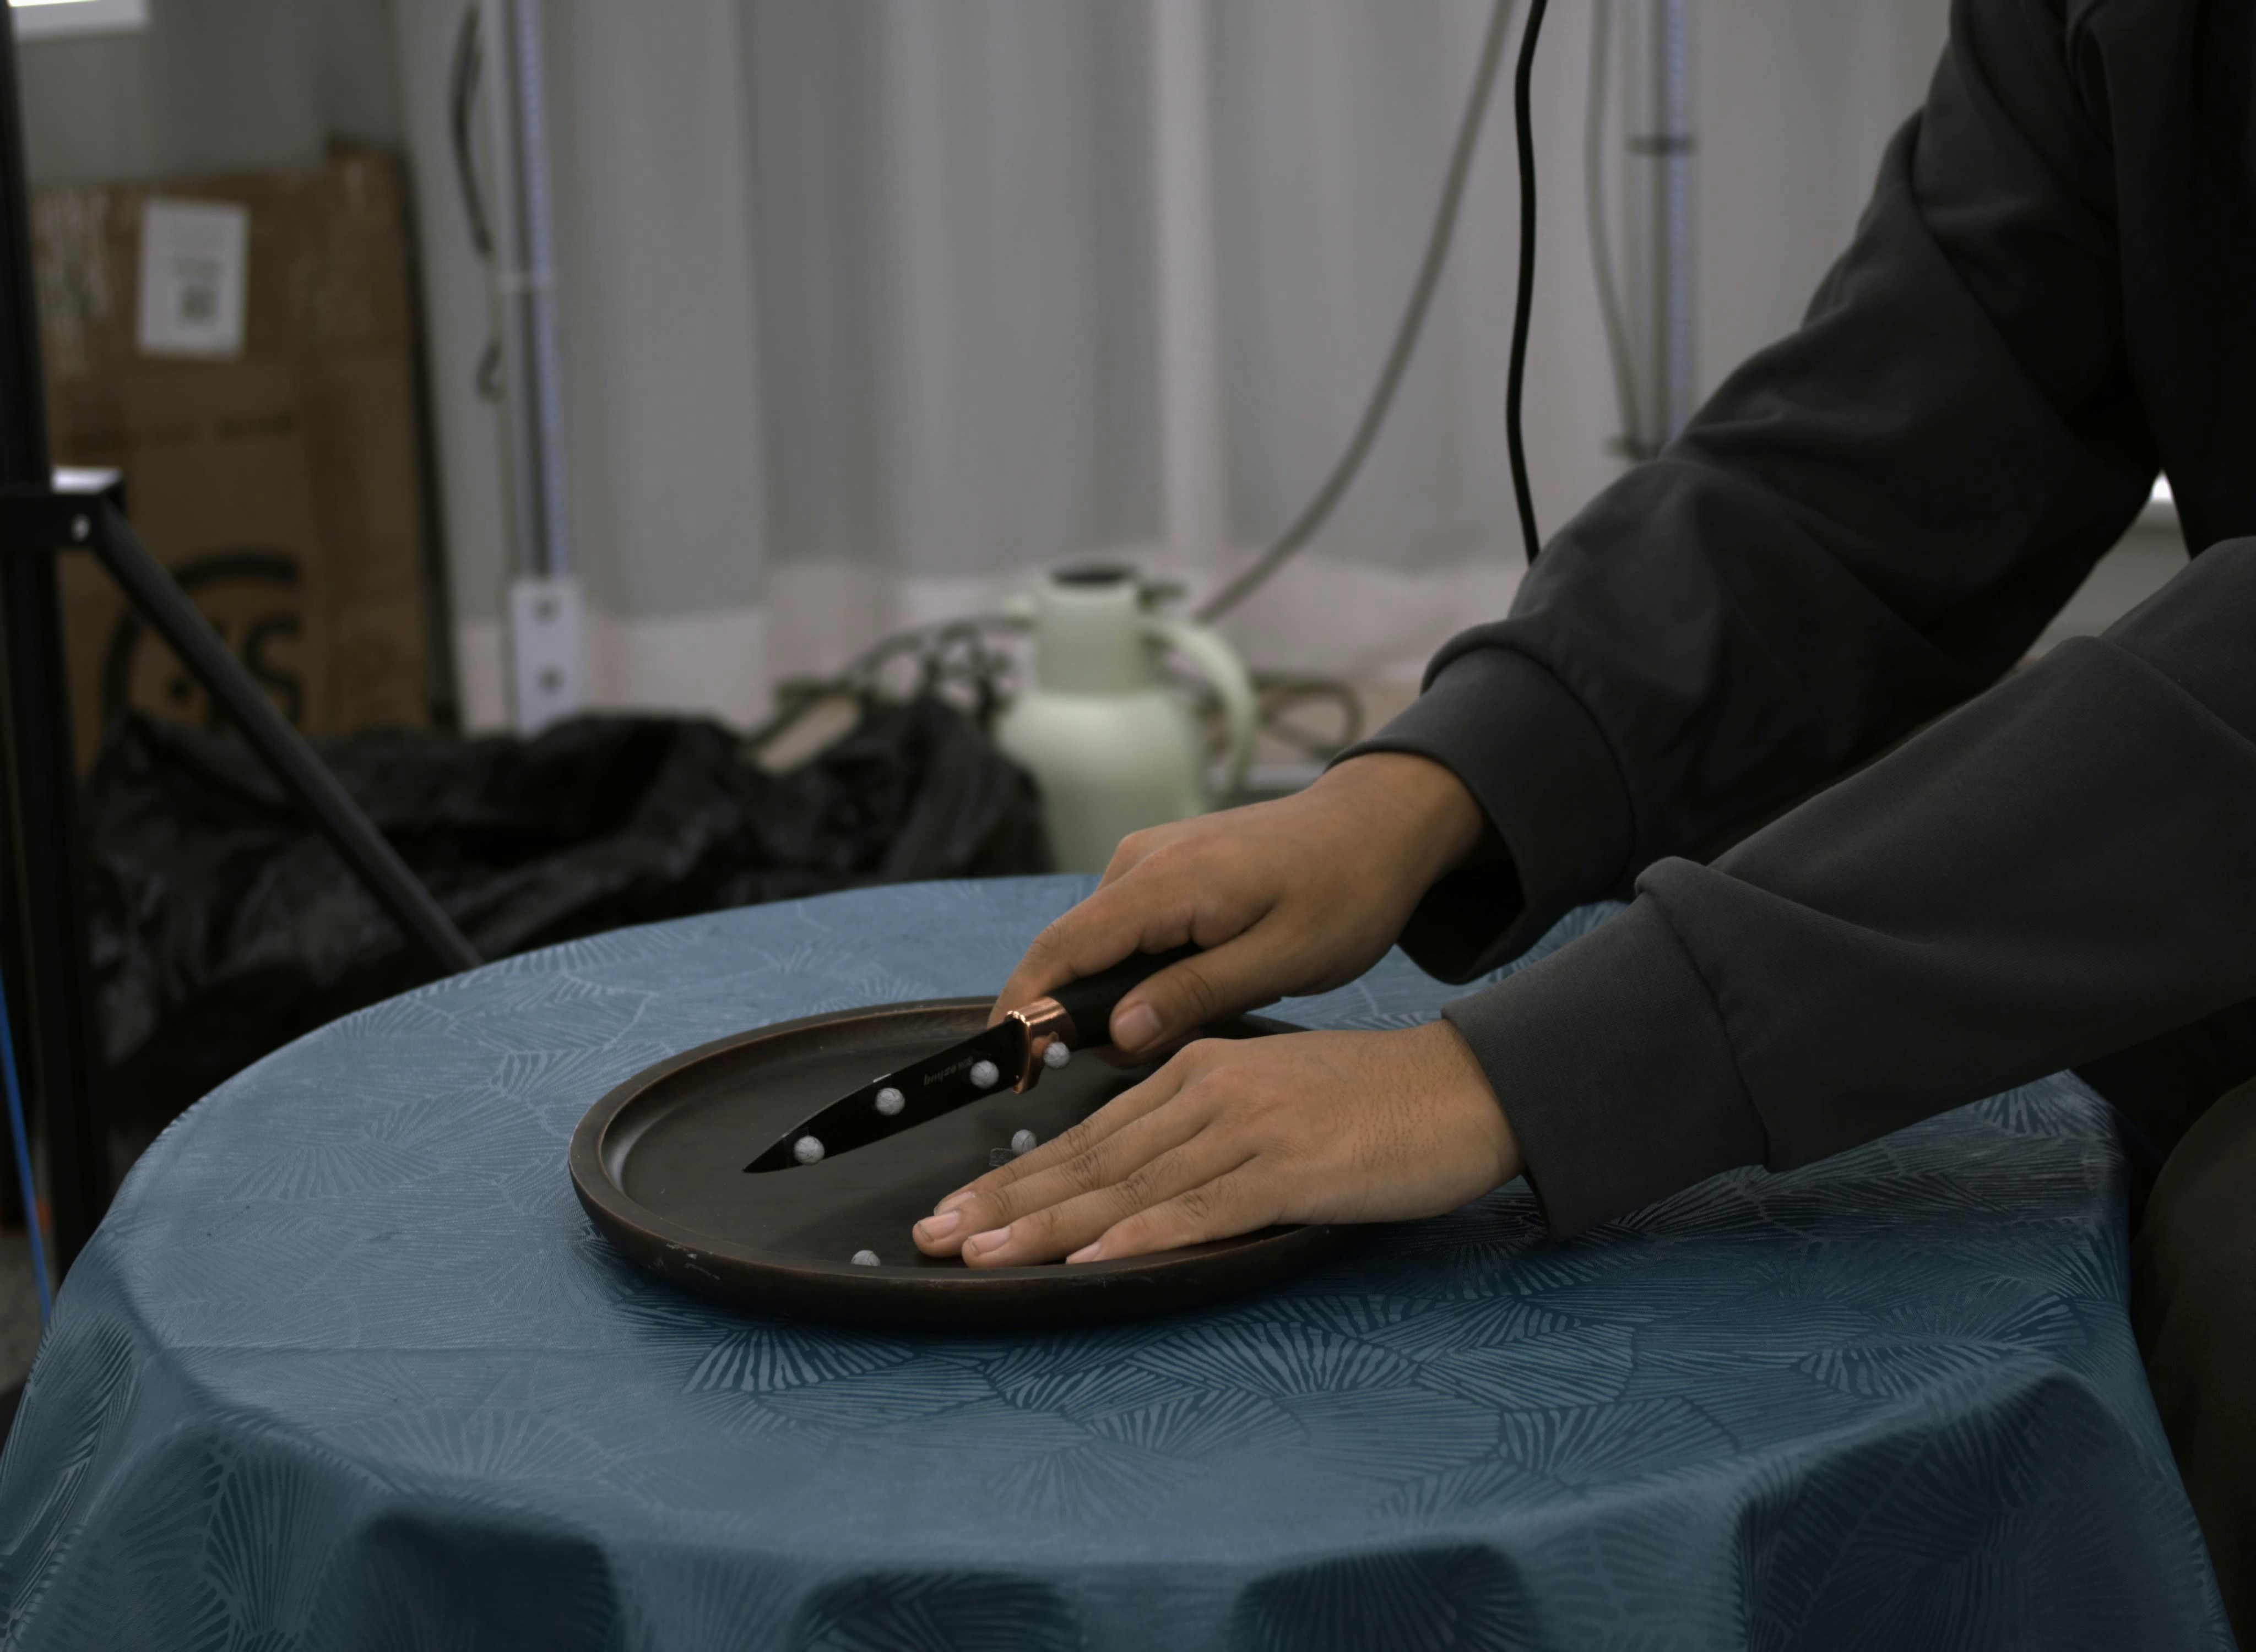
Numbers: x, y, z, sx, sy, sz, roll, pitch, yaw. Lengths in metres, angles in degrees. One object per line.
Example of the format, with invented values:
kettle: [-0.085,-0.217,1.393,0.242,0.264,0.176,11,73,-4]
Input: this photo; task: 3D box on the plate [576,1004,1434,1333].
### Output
plate: [-0.036,0.097,1.557,0.253,0.029,0.256,-2,15,-1]

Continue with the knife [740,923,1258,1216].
knife: [-0.035,0.070,1.573,0.017,0.026,0.221,20,30,37]
